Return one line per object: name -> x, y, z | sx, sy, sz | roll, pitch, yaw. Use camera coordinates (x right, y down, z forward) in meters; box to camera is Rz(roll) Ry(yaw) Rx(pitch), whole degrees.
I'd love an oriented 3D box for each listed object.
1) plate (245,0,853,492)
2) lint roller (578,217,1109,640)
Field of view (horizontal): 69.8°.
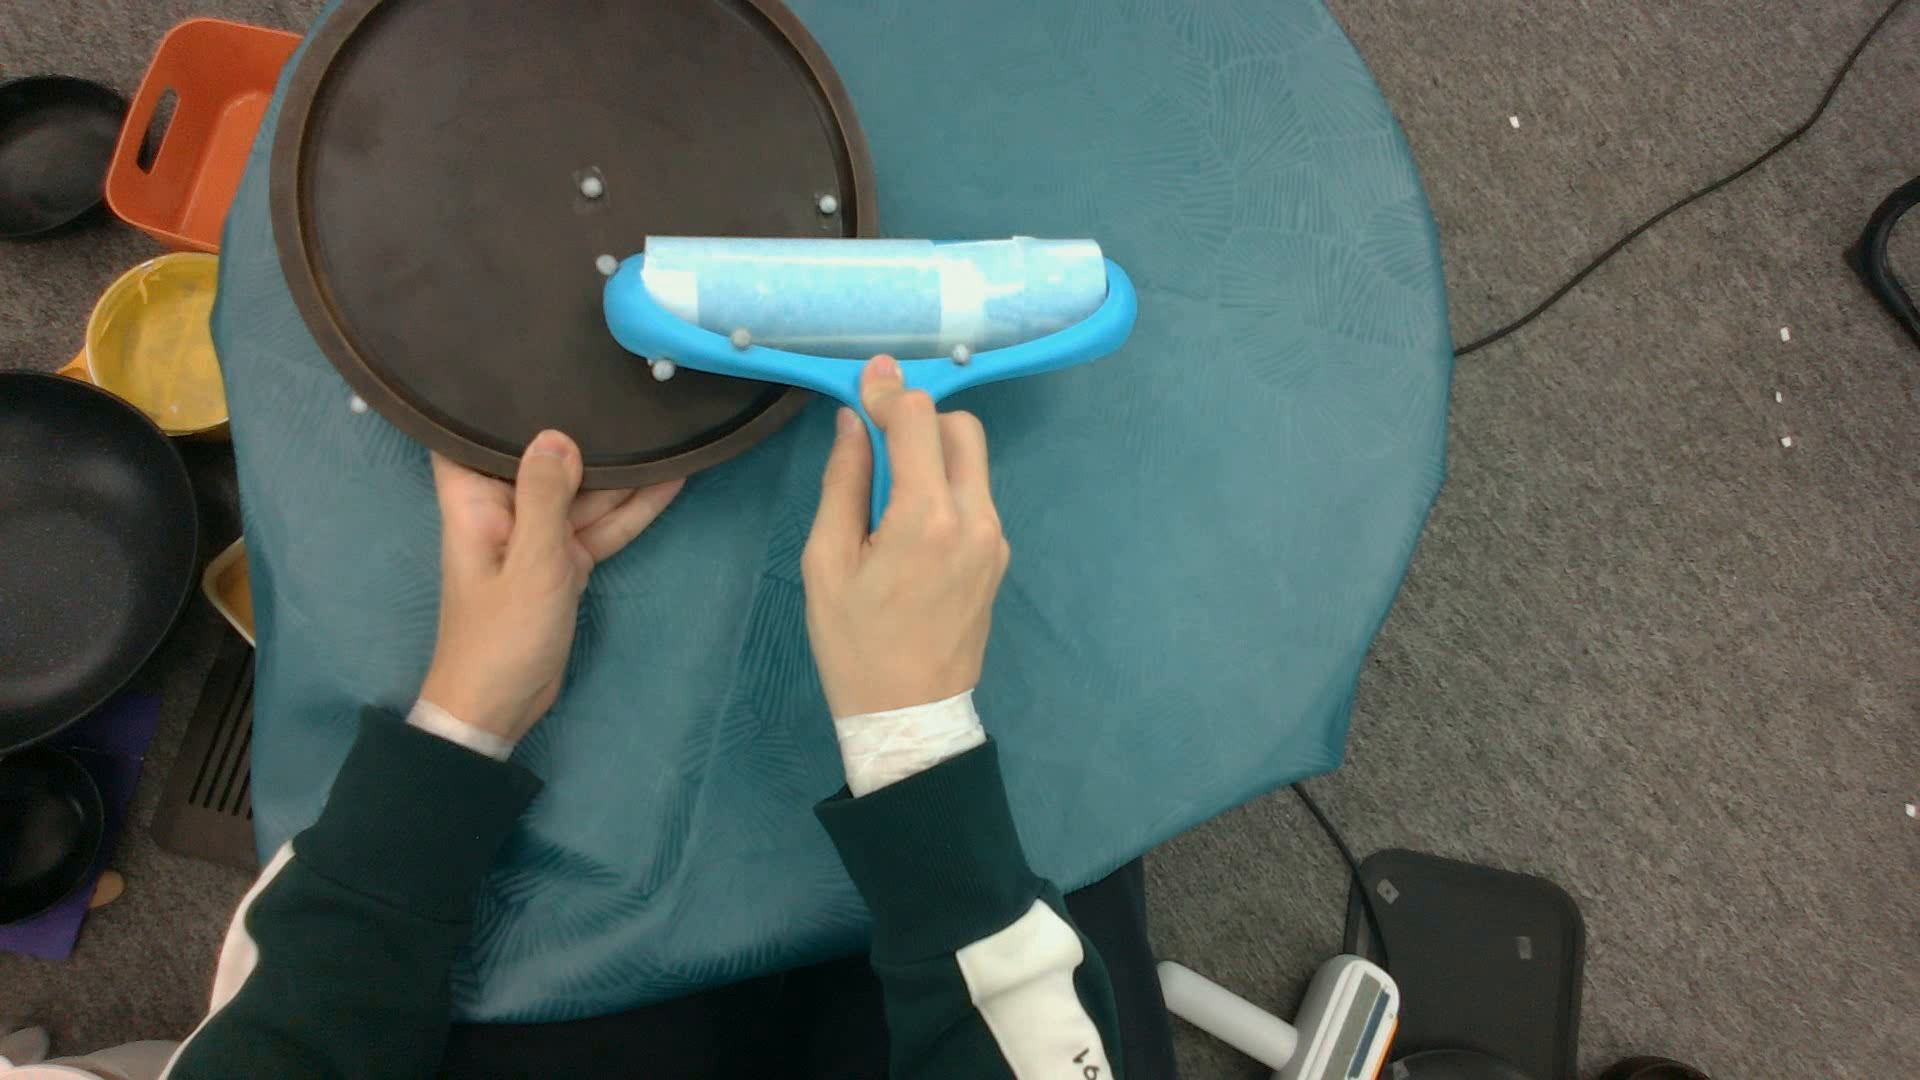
plate -> -0.173, -0.146, 0.605 | 0.255, 0.029, 0.255 | 1, 85, -13
lint roller -> -0.037, -0.053, 0.575 | 0.229, 0.067, 0.180 | -7, 70, -12
